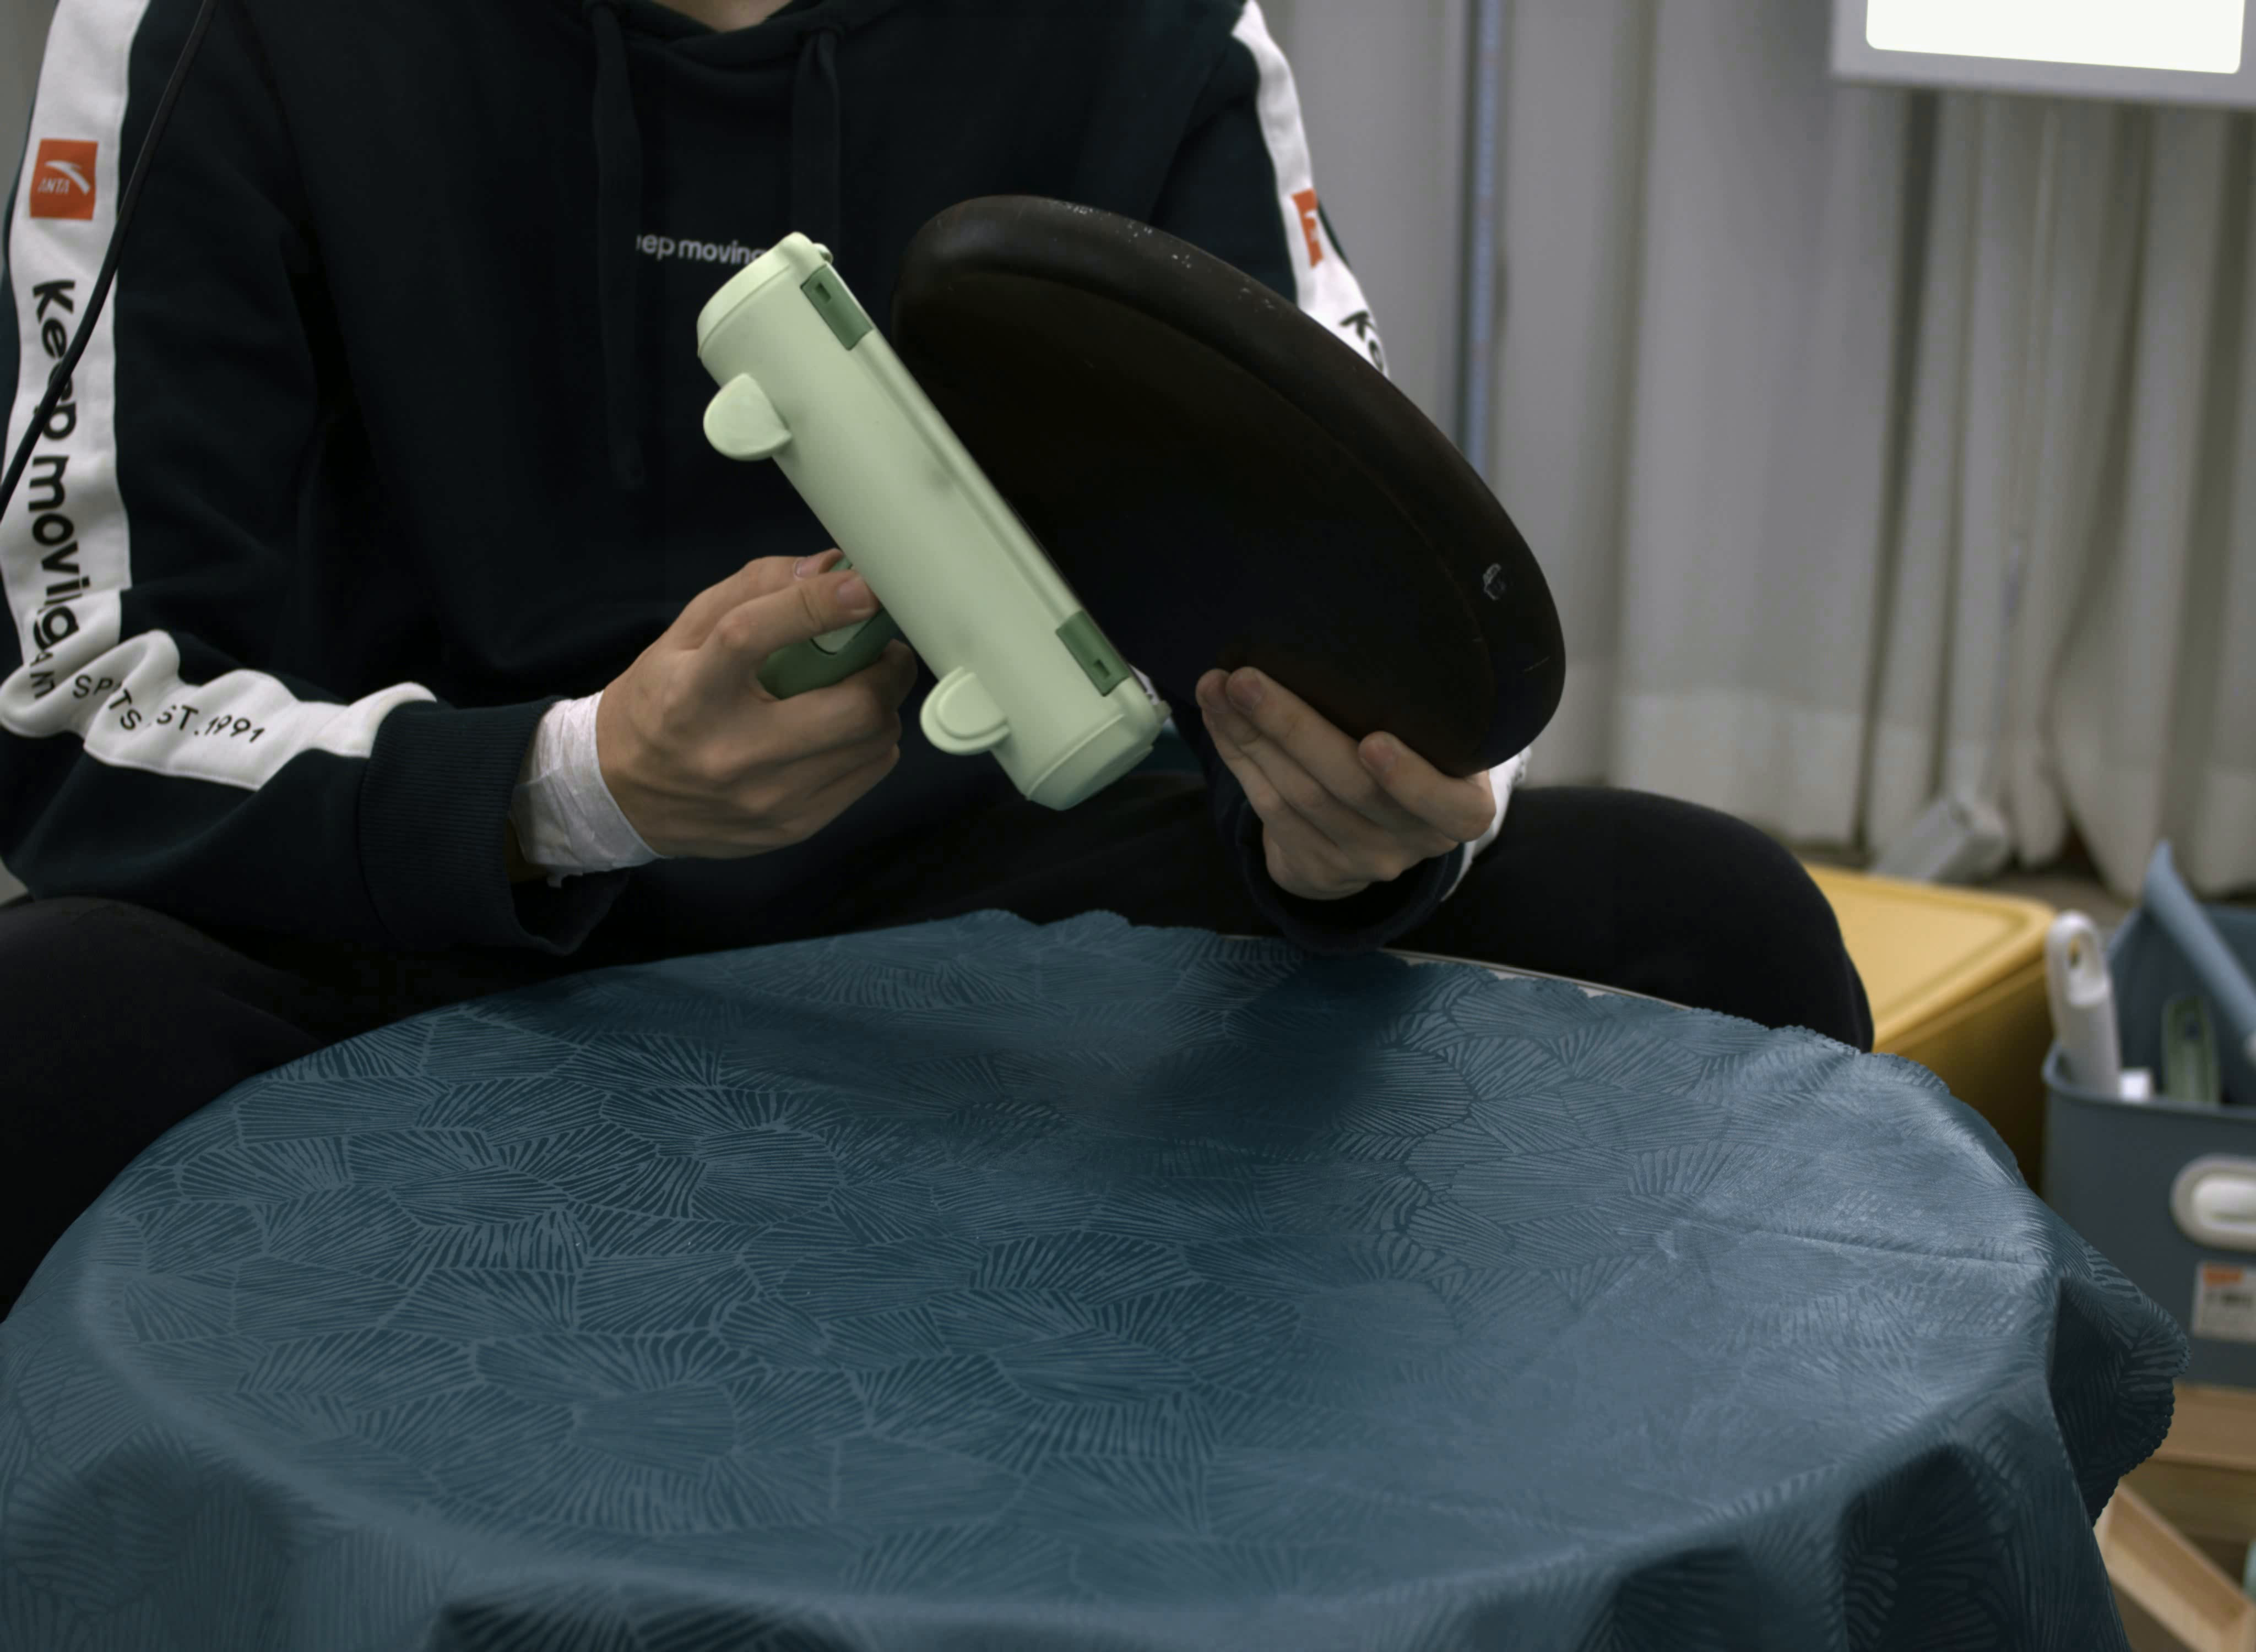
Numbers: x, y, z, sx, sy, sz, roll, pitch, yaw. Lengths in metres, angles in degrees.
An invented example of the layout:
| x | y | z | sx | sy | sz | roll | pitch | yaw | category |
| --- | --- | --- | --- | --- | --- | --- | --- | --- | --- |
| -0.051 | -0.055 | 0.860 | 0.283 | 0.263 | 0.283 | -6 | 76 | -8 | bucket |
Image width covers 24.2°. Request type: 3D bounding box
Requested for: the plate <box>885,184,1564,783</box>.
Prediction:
| x | y | z | sx | sy | sz | roll | pitch | yaw | category |
| --- | --- | --- | --- | --- | --- | --- | --- | --- | --- |
| 0.026 | -0.101 | 1.650 | 0.251 | 0.258 | 0.029 | 15 | 60 | 42 | plate |

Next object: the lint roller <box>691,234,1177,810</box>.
| x | y | z | sx | sy | sz | roll | pitch | yaw | category |
| --- | --- | --- | --- | --- | --- | --- | --- | --- | --- |
| -0.096 | -0.064 | 1.683 | 0.183 | 0.198 | 0.082 | -42 | -6 | 40 | lint roller |
